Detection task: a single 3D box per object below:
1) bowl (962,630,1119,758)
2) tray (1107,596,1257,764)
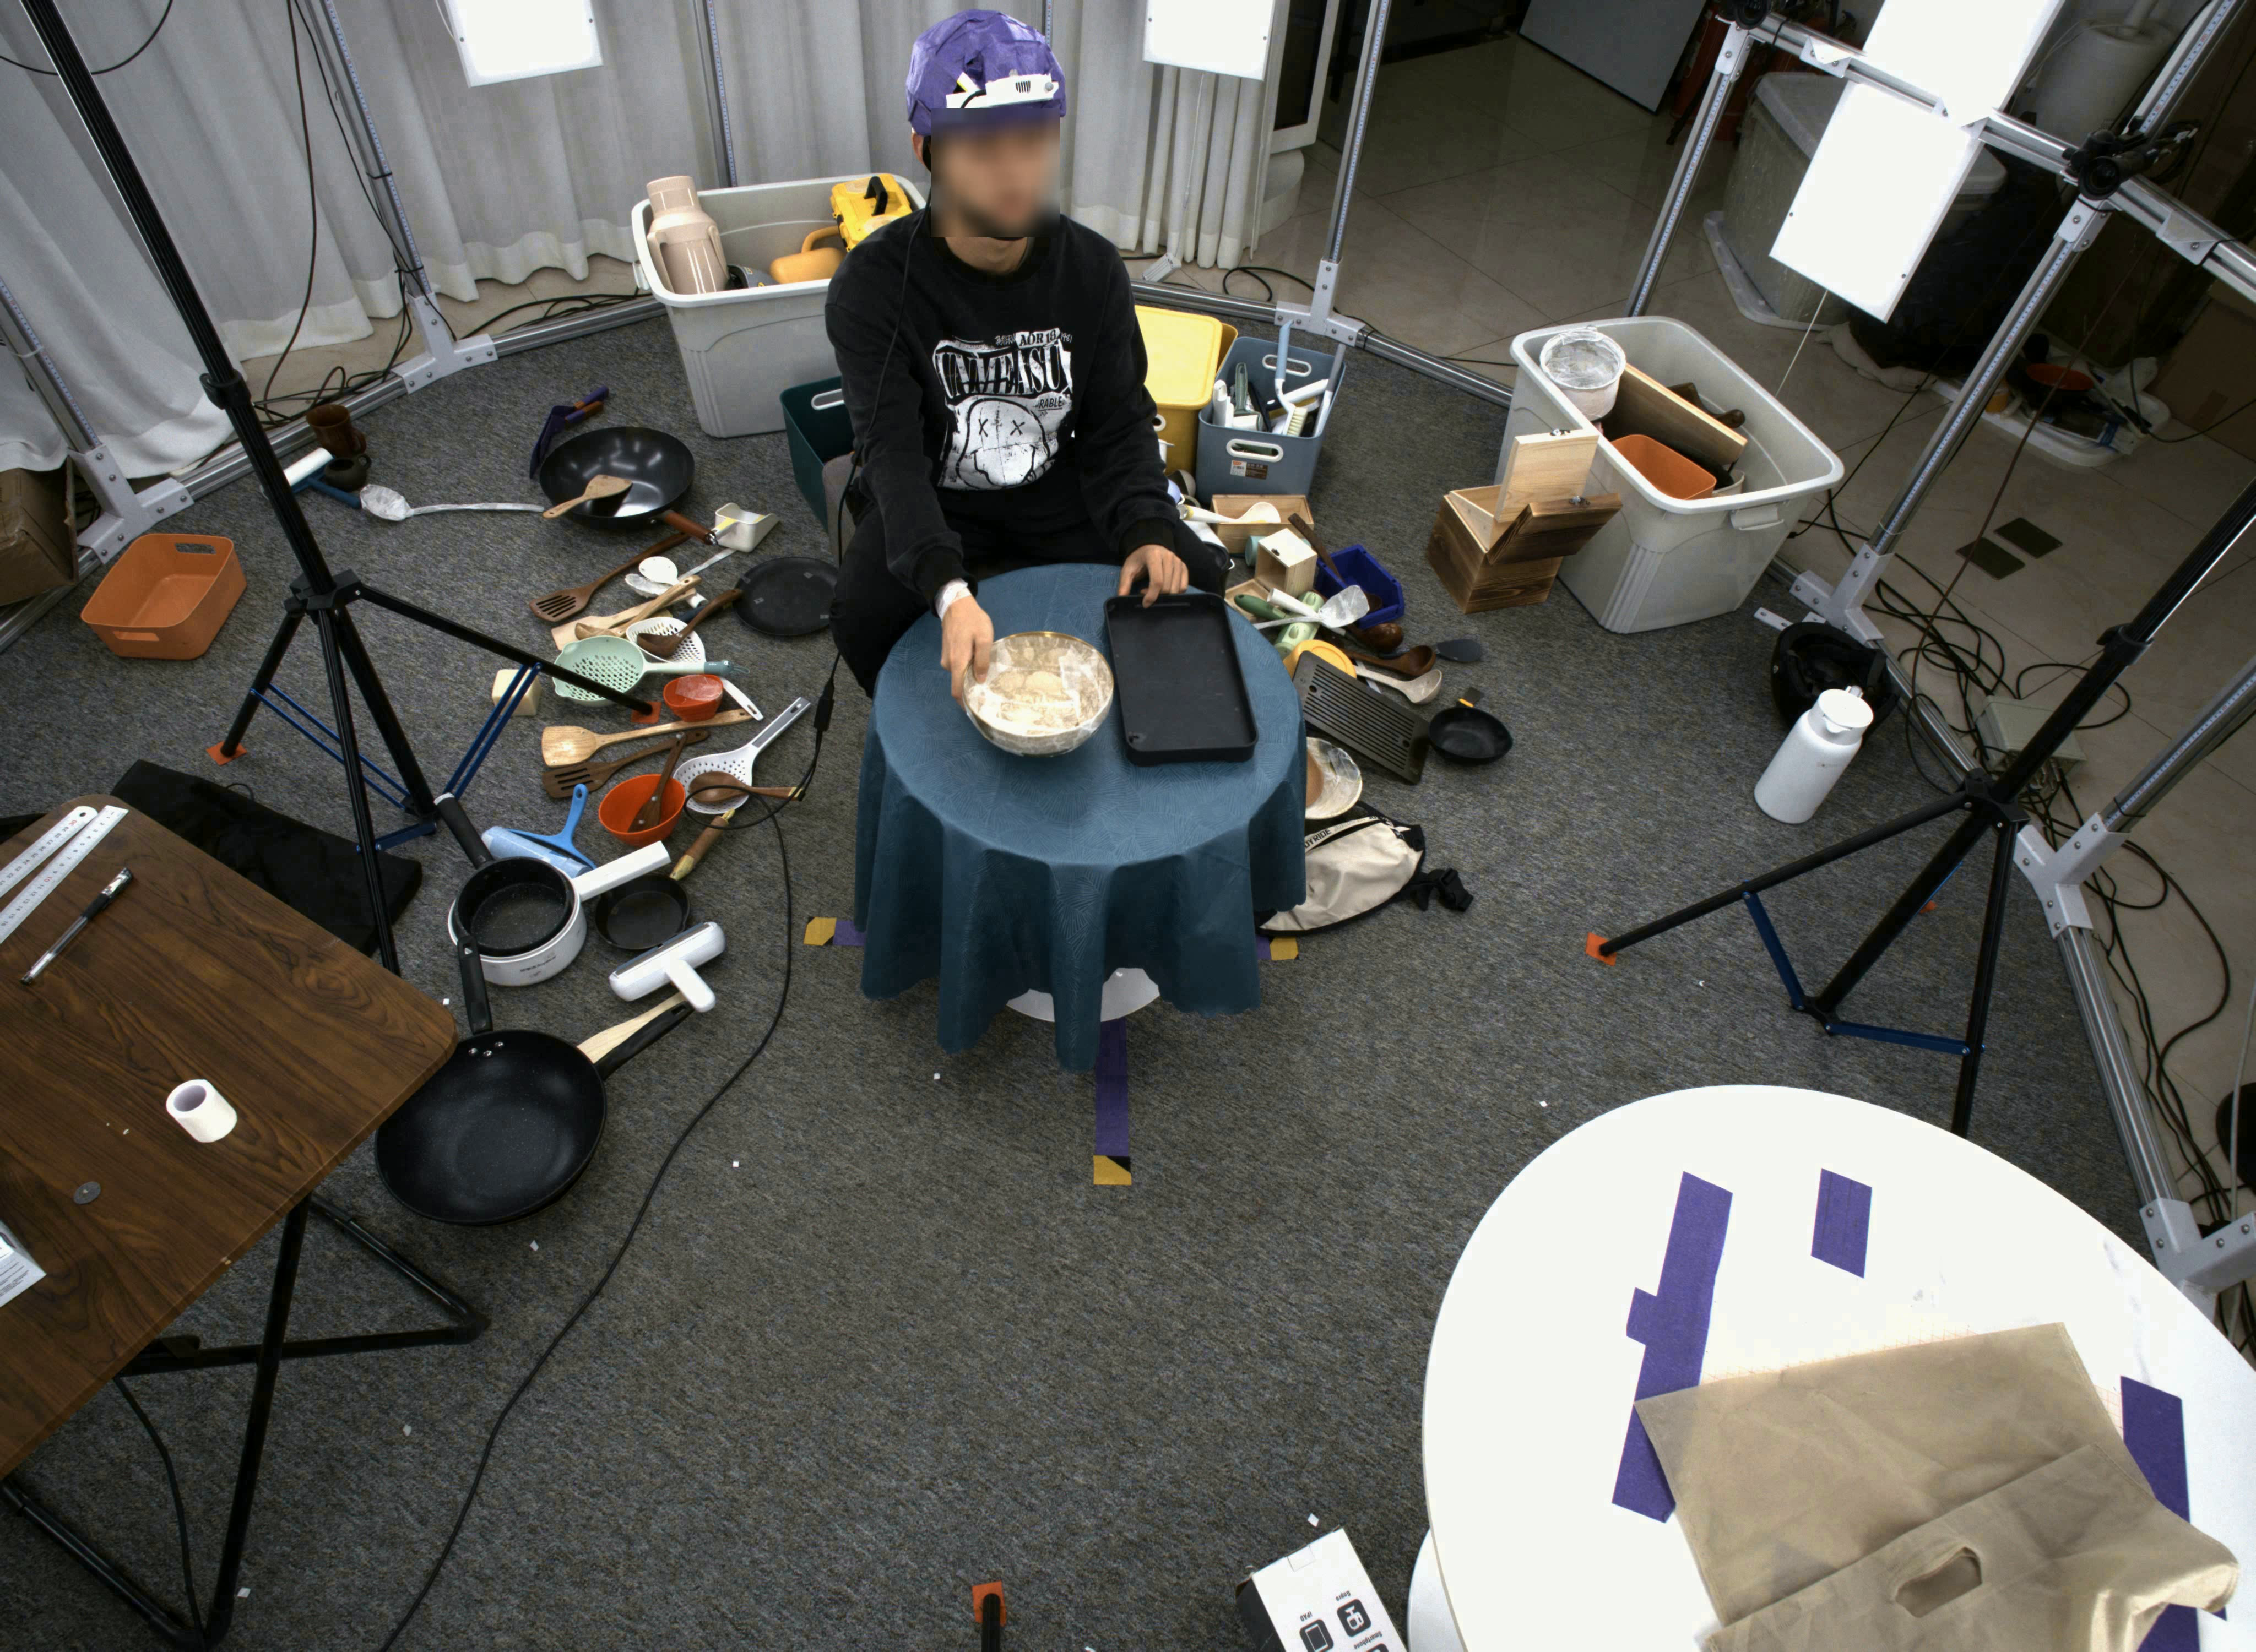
[{"bbox_3d":[-0.116,-0.164,1.731,0.214,0.092,0.220,-1,48,1],"label":"bowl"},{"bbox_3d":[0.072,-0.216,1.850,0.184,0.036,0.326,-3,47,-5],"label":"tray"}]
